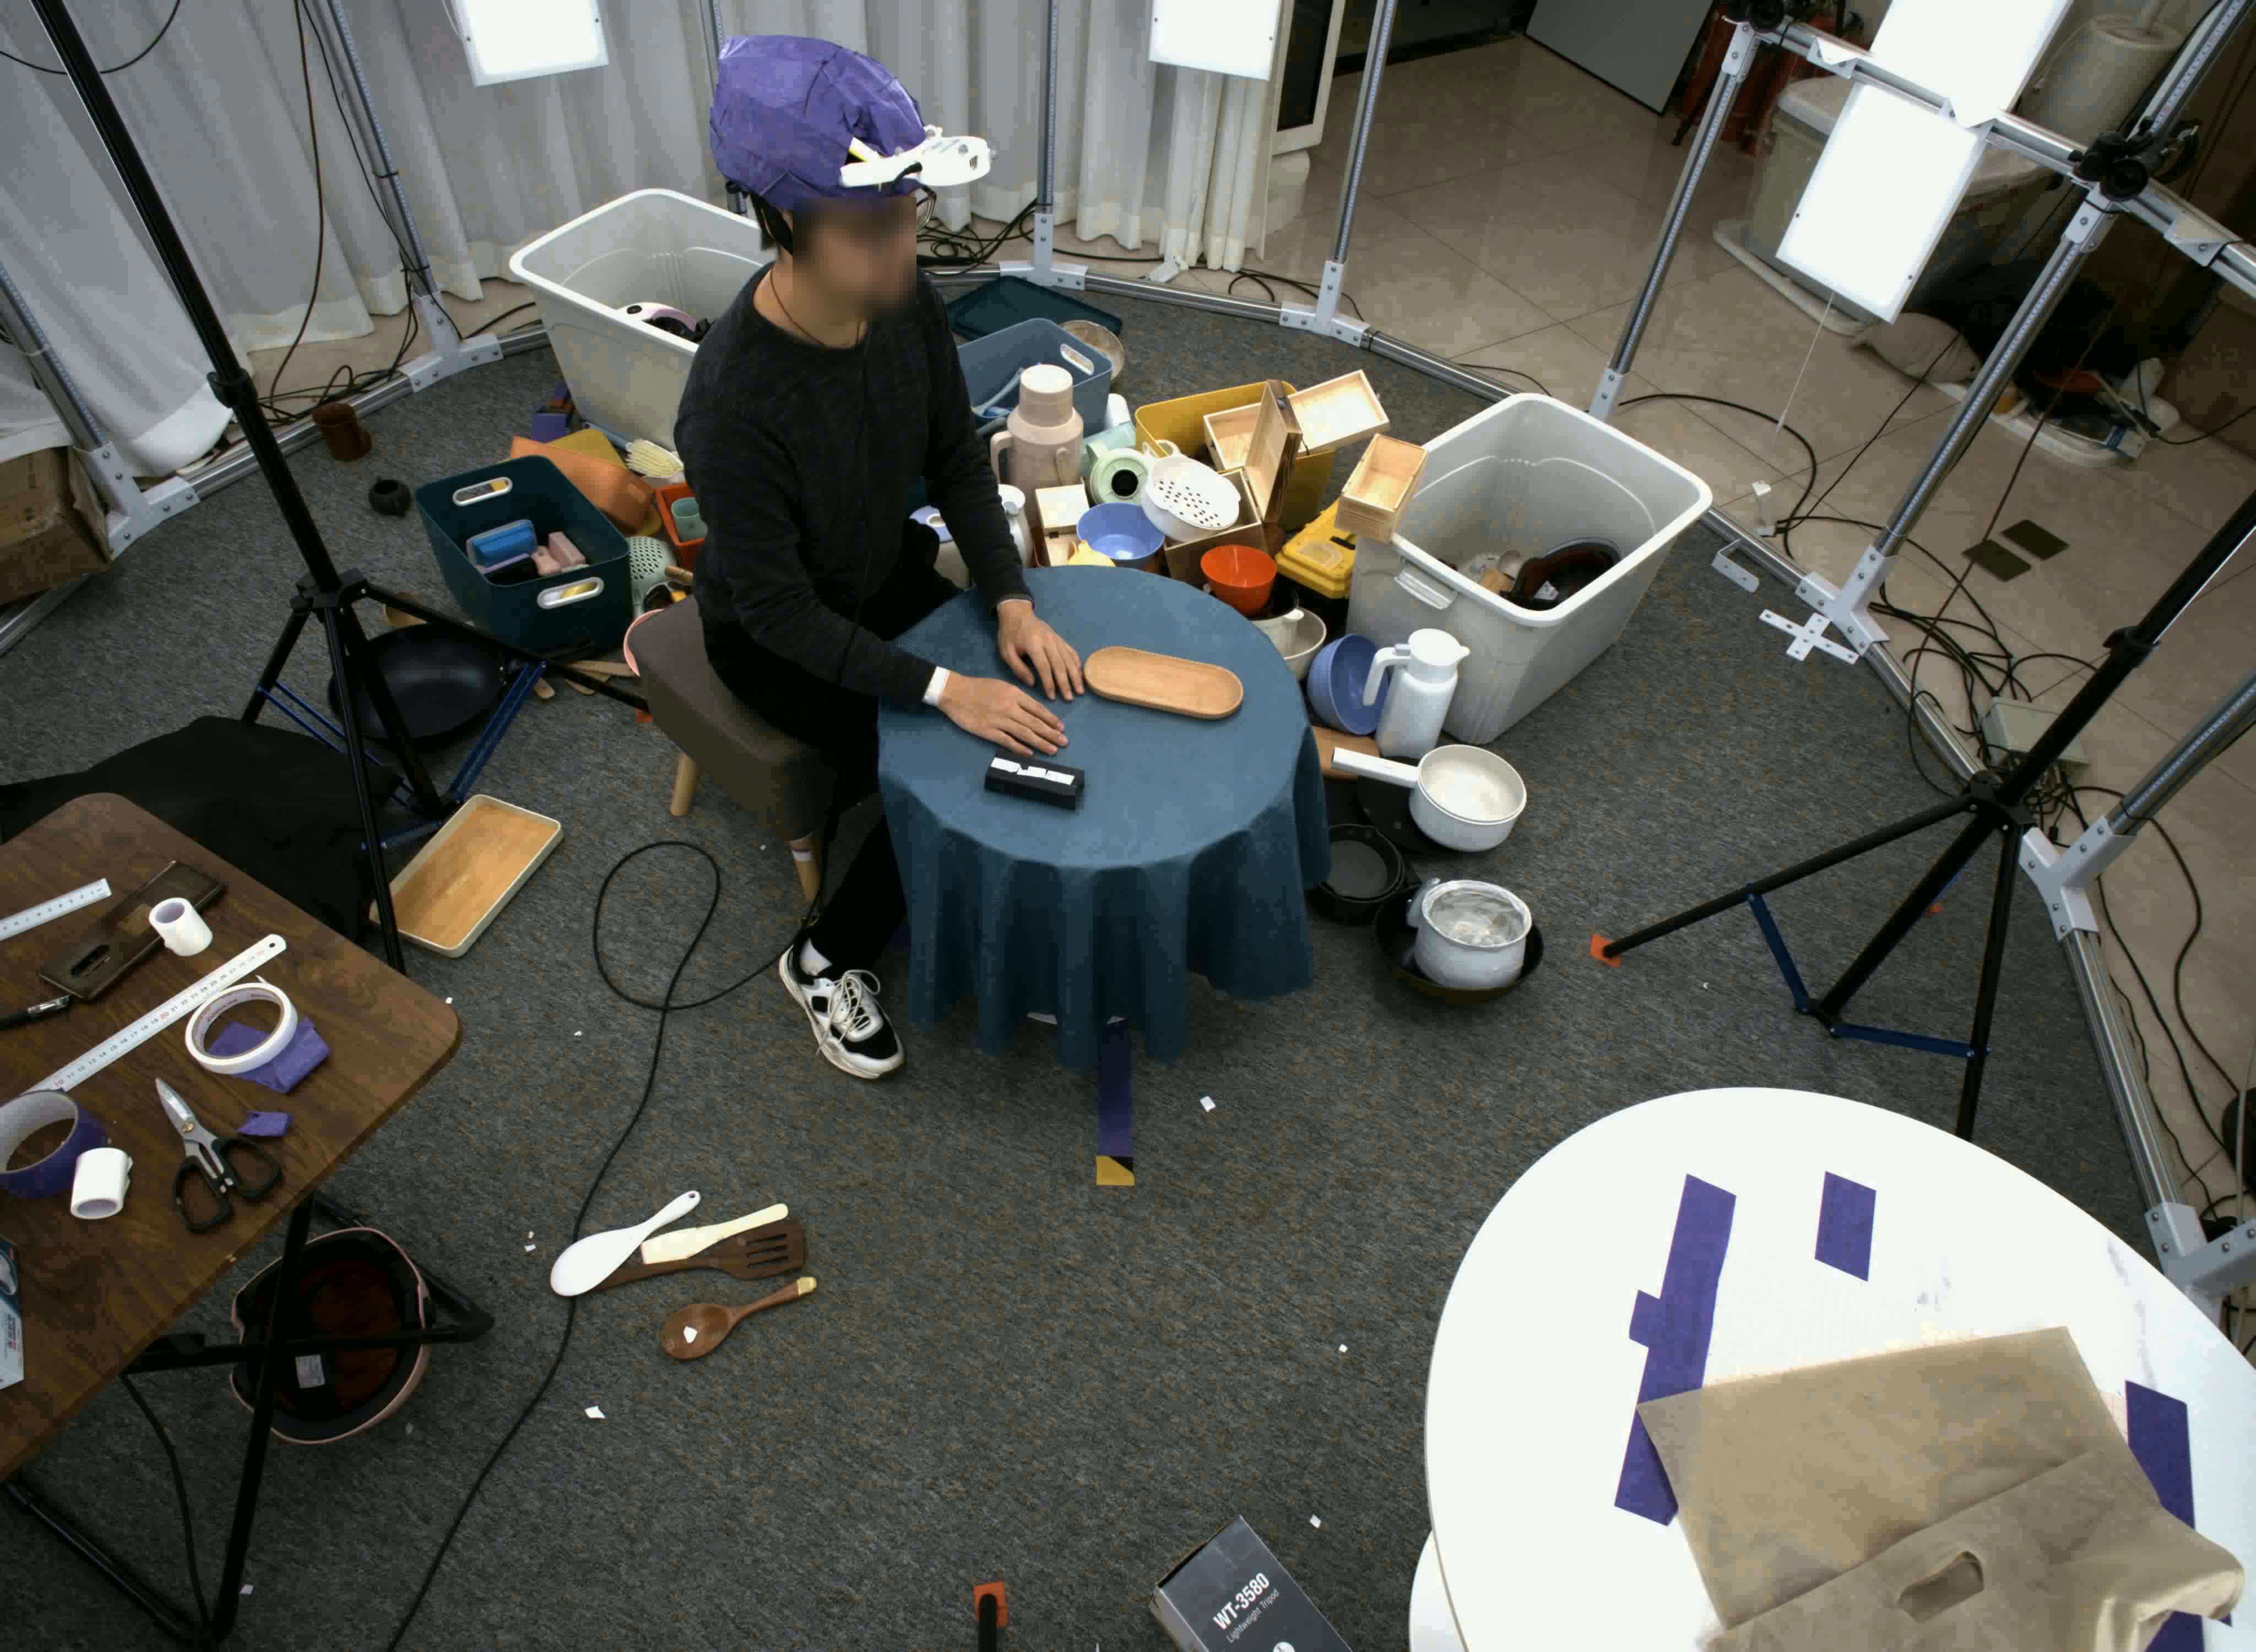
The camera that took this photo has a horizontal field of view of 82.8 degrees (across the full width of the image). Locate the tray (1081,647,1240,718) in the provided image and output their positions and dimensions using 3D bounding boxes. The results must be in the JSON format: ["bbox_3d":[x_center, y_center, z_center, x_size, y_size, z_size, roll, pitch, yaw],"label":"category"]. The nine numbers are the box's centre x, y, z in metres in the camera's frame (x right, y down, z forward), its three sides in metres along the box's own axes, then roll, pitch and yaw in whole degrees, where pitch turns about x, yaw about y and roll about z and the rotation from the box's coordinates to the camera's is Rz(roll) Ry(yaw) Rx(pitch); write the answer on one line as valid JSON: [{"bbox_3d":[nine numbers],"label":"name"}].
[{"bbox_3d":[0.046,-0.206,1.841,0.231,0.020,0.104,11,48,7],"label":"tray"}]

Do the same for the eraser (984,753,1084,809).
[{"bbox_3d":[-0.123,-0.061,1.696,0.126,0.030,0.055,12,47,8],"label":"eraser"}]
